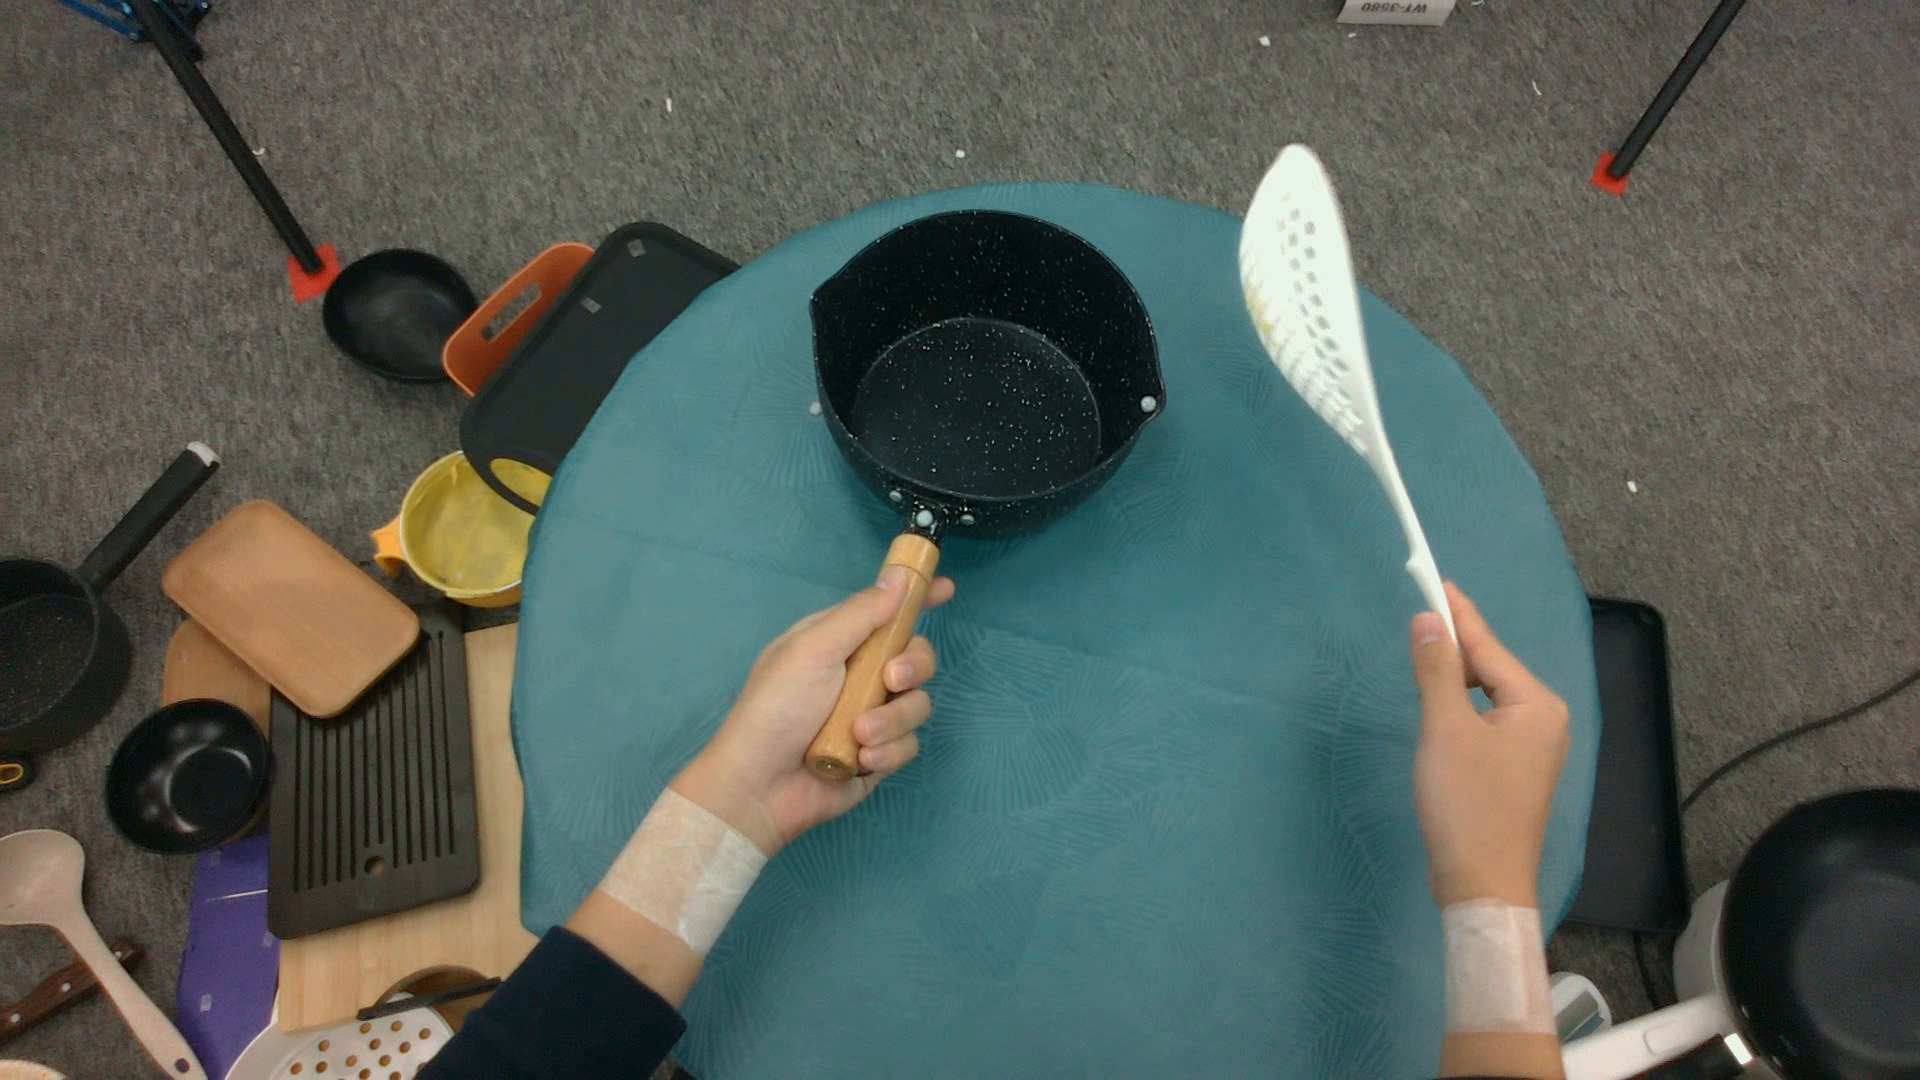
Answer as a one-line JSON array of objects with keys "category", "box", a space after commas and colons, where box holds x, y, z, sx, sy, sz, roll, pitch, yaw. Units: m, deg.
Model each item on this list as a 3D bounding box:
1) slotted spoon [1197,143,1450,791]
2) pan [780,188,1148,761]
[{"category": "slotted spoon", "box": [0.191, -0.044, 0.706, 0.050, 0.137, 0.348, -26, 71, 12]}, {"category": "pan", "box": [-0.020, -0.031, 0.727, 0.207, 0.108, 0.344, 16, 64, 2]}]
